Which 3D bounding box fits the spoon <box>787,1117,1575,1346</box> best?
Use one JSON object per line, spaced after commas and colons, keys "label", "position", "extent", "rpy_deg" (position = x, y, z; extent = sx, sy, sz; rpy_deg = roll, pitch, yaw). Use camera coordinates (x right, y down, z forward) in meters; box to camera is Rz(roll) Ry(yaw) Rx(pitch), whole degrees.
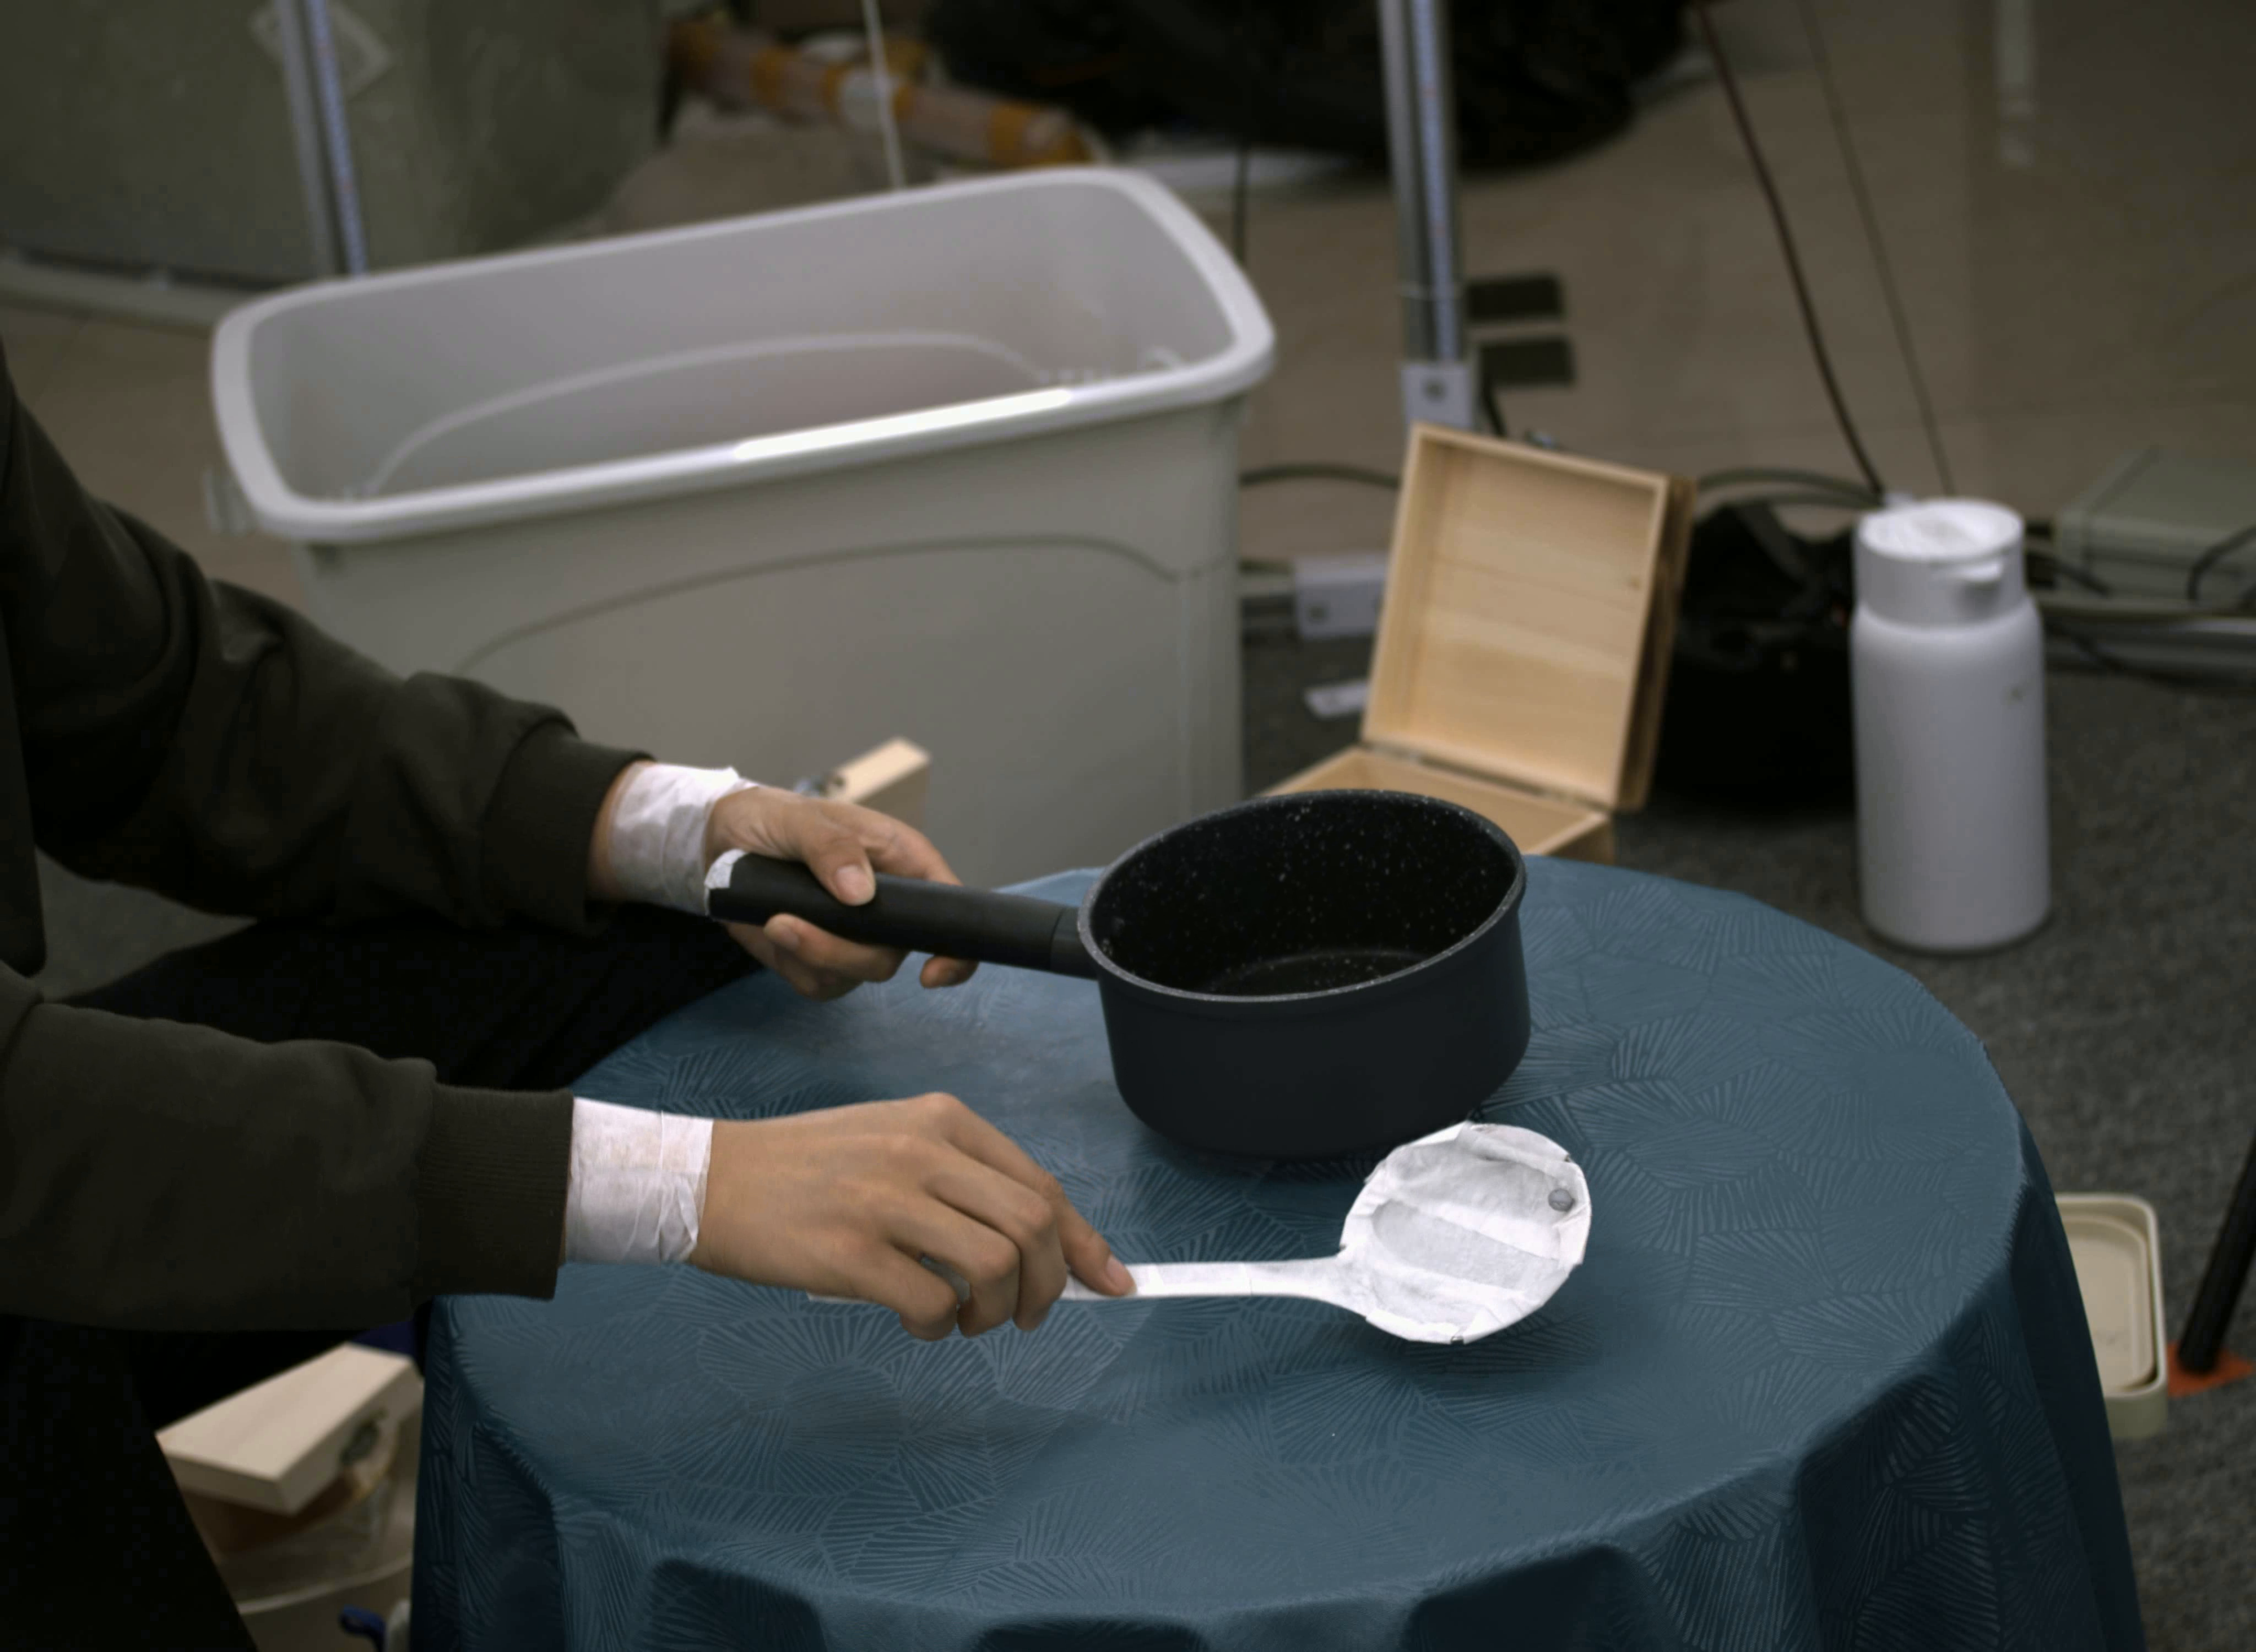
{"label": "spoon", "position": [0.019, 0.139, 1.995], "extent": [0.277, 0.060, 0.099], "rpy_deg": [3, 39, -16]}

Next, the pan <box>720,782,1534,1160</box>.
{"label": "pan", "position": [-0.003, 0.052, 2.209], "extent": [0.328, 0.088, 0.169], "rpy_deg": [3, 29, 20]}
